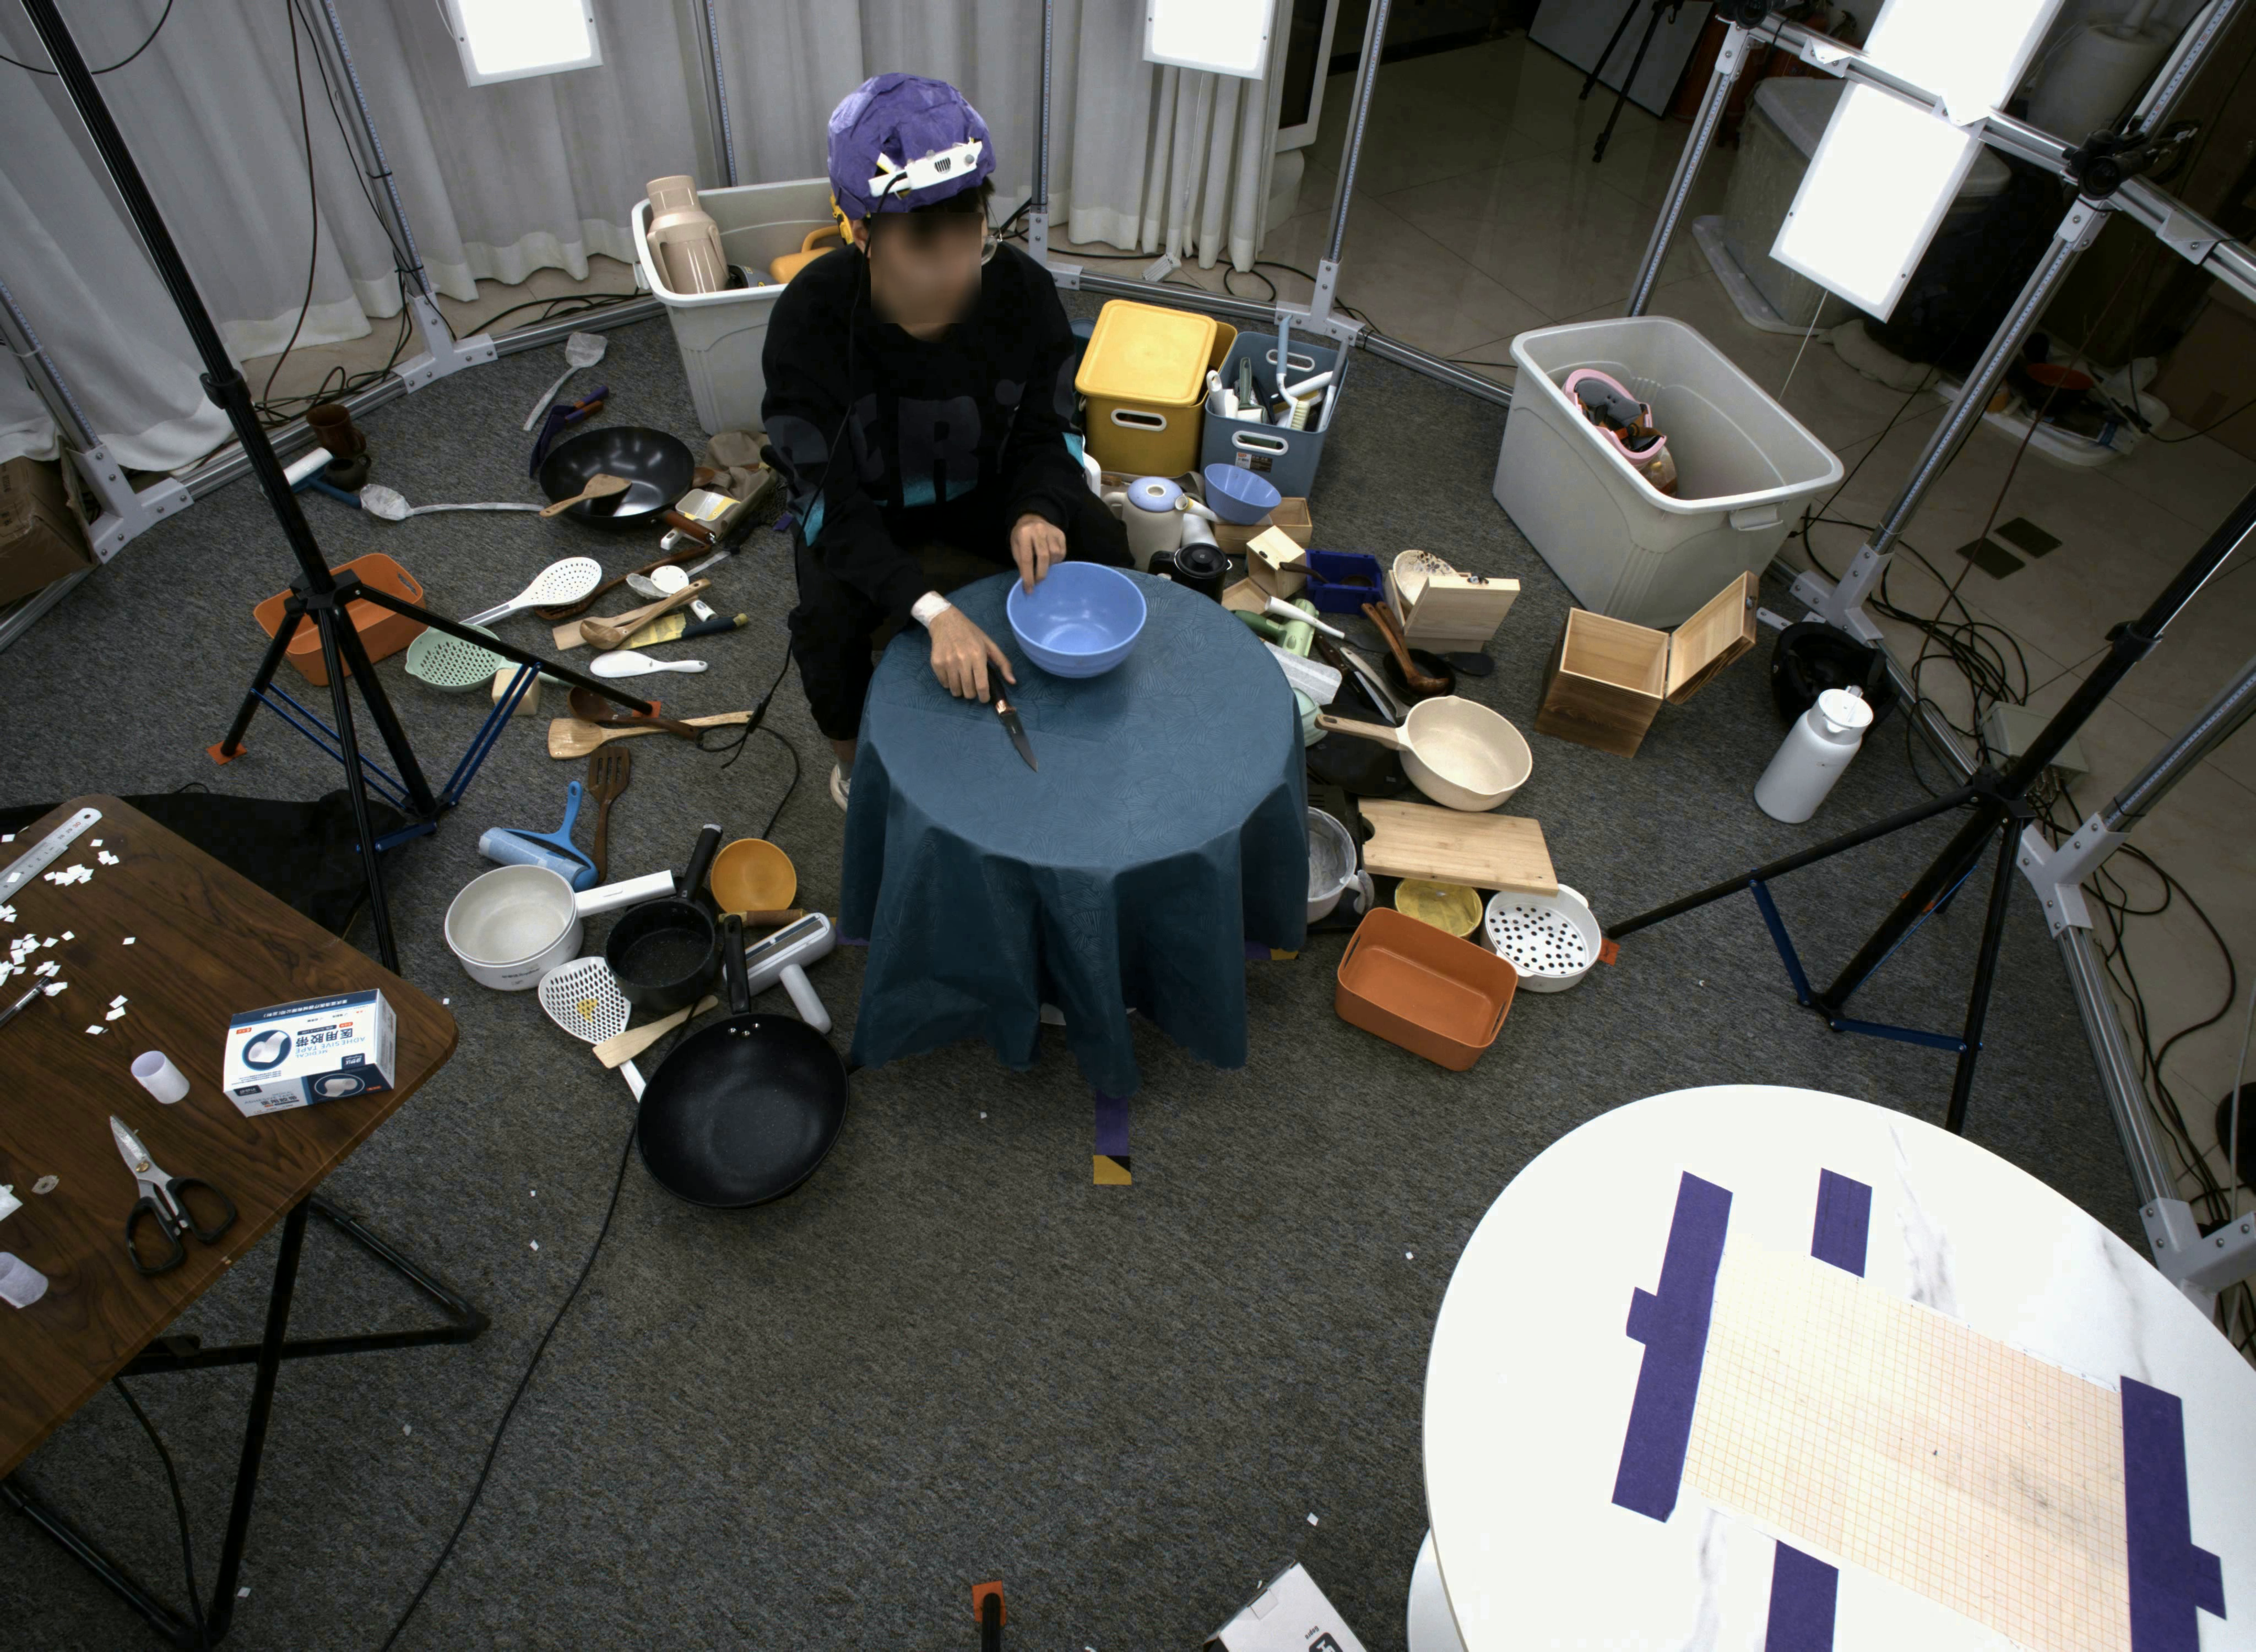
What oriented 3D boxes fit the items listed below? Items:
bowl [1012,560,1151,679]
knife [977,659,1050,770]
[{"bbox_3d":[-0.068,-0.280,1.843,0.196,0.093,0.201,3,51,-4],"label":"bowl"},{"bbox_3d":[-0.161,-0.156,1.786,0.026,0.017,0.230,-15,53,-23],"label":"knife"}]
